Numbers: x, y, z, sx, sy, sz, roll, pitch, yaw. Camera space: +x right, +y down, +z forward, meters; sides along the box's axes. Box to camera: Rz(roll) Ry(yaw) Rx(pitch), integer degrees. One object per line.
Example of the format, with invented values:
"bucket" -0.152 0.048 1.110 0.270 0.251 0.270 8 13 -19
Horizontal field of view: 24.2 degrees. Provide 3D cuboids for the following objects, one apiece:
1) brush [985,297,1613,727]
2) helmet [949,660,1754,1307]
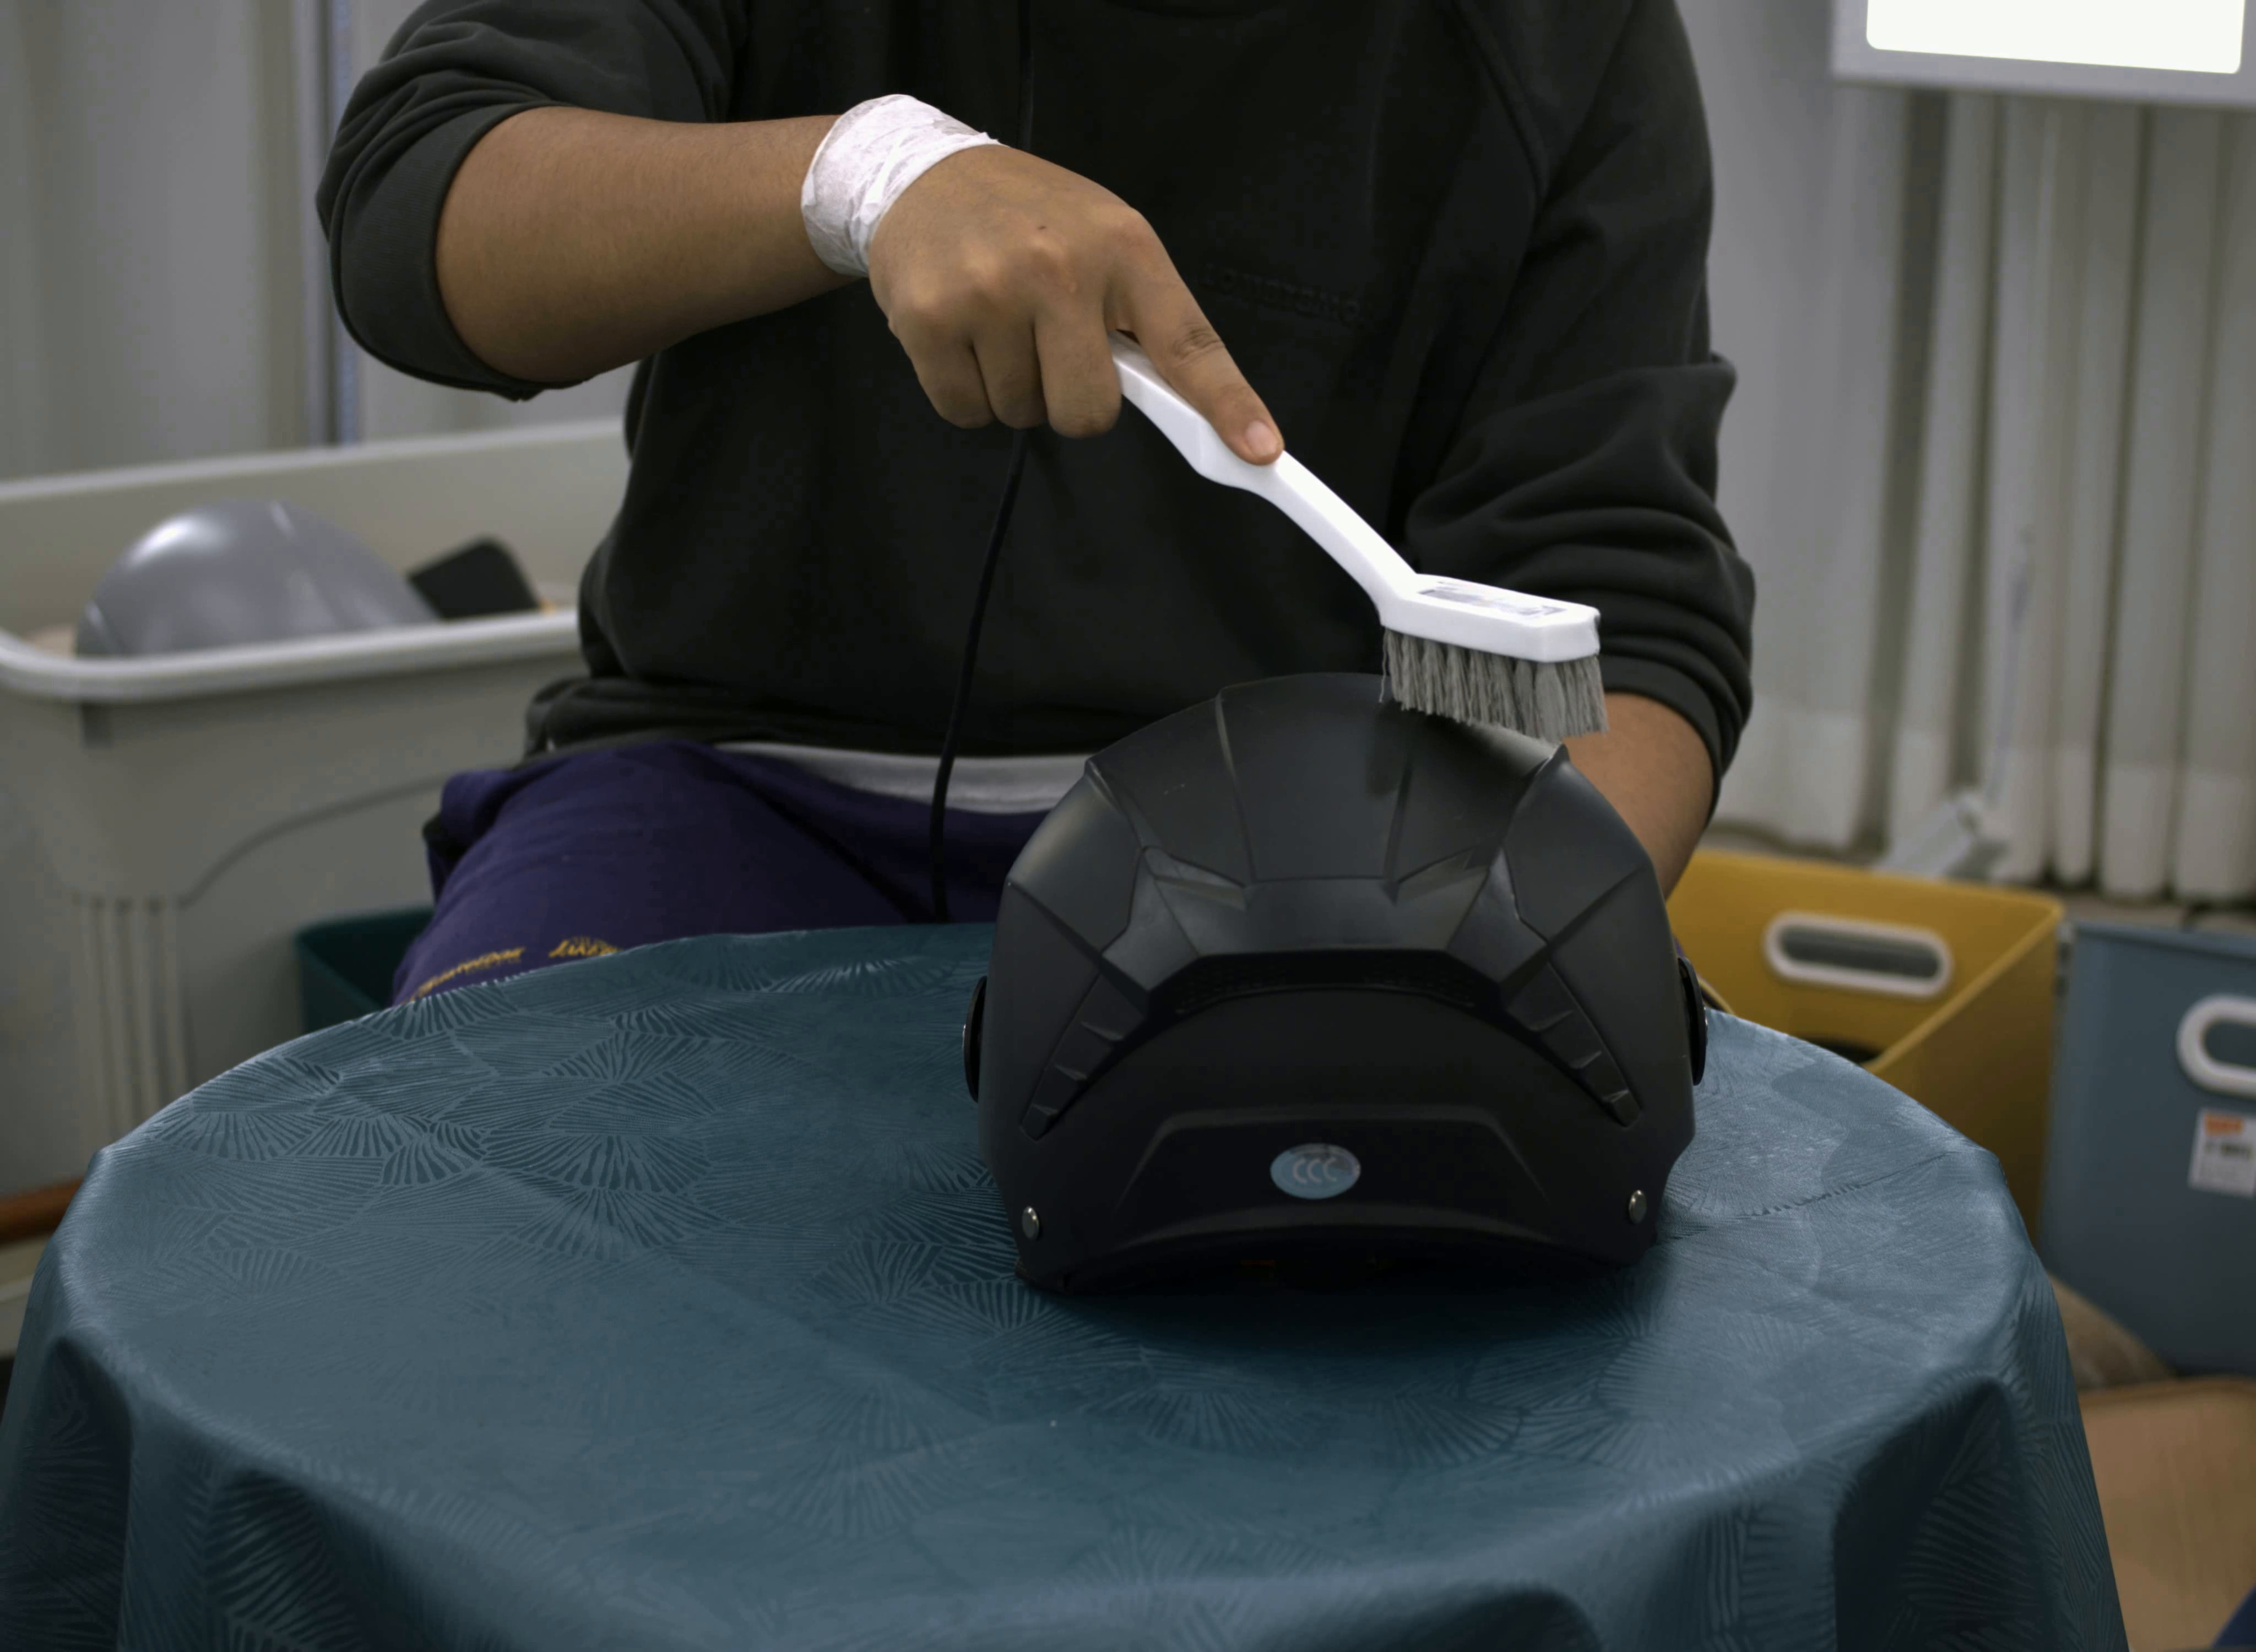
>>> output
"brush" 0.045 -0.092 1.579 0.240 0.050 0.034 31 28 27
"helmet" 0.064 0.036 1.587 0.245 0.174 0.275 -1 19 4
